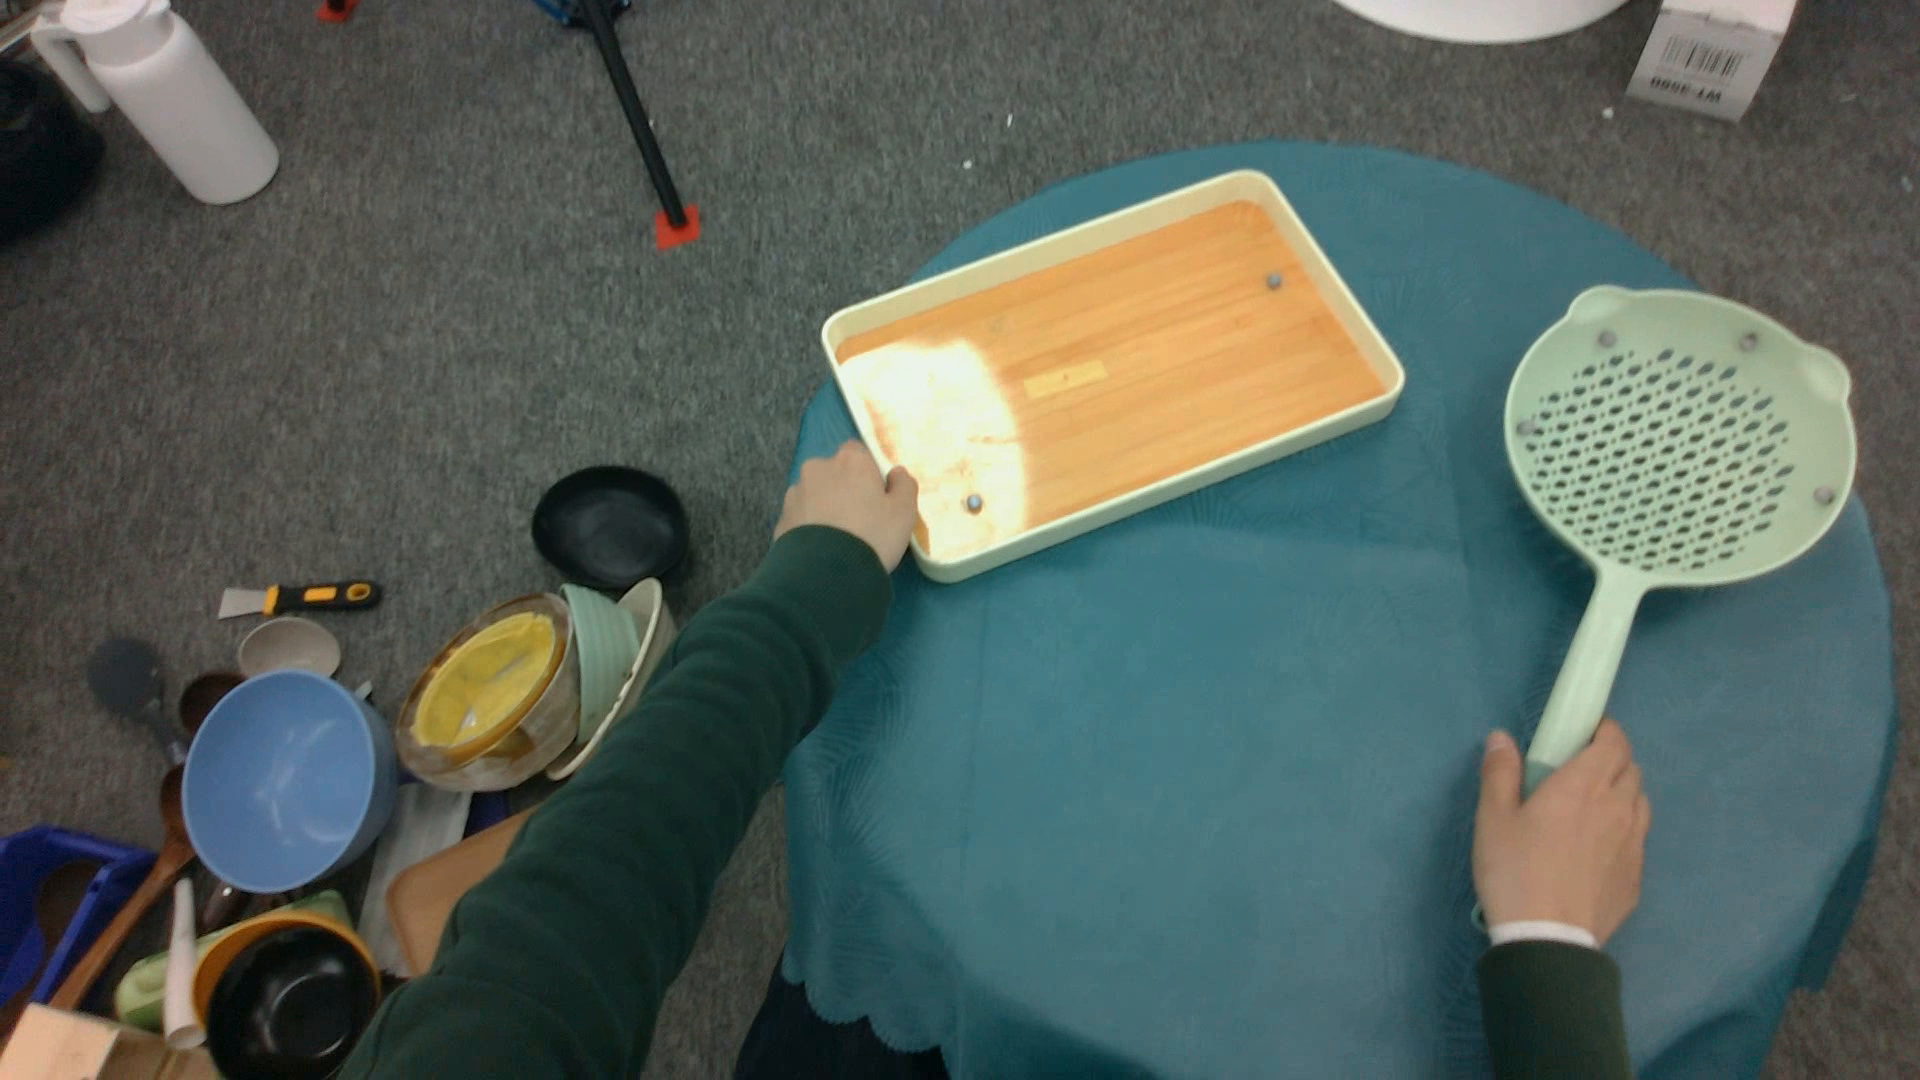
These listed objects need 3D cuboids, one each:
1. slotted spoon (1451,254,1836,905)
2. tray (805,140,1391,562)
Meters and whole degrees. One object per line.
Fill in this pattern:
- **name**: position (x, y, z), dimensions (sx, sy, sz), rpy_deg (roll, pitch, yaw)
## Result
- **slotted spoon**: position (0.323, 0.015, 0.701), dimensions (0.169, 0.075, 0.360), rpy_deg (22, 66, 17)
- **tray**: position (0.077, -0.118, 0.807), dimensions (0.300, 0.027, 0.192), rpy_deg (-21, 63, -7)
